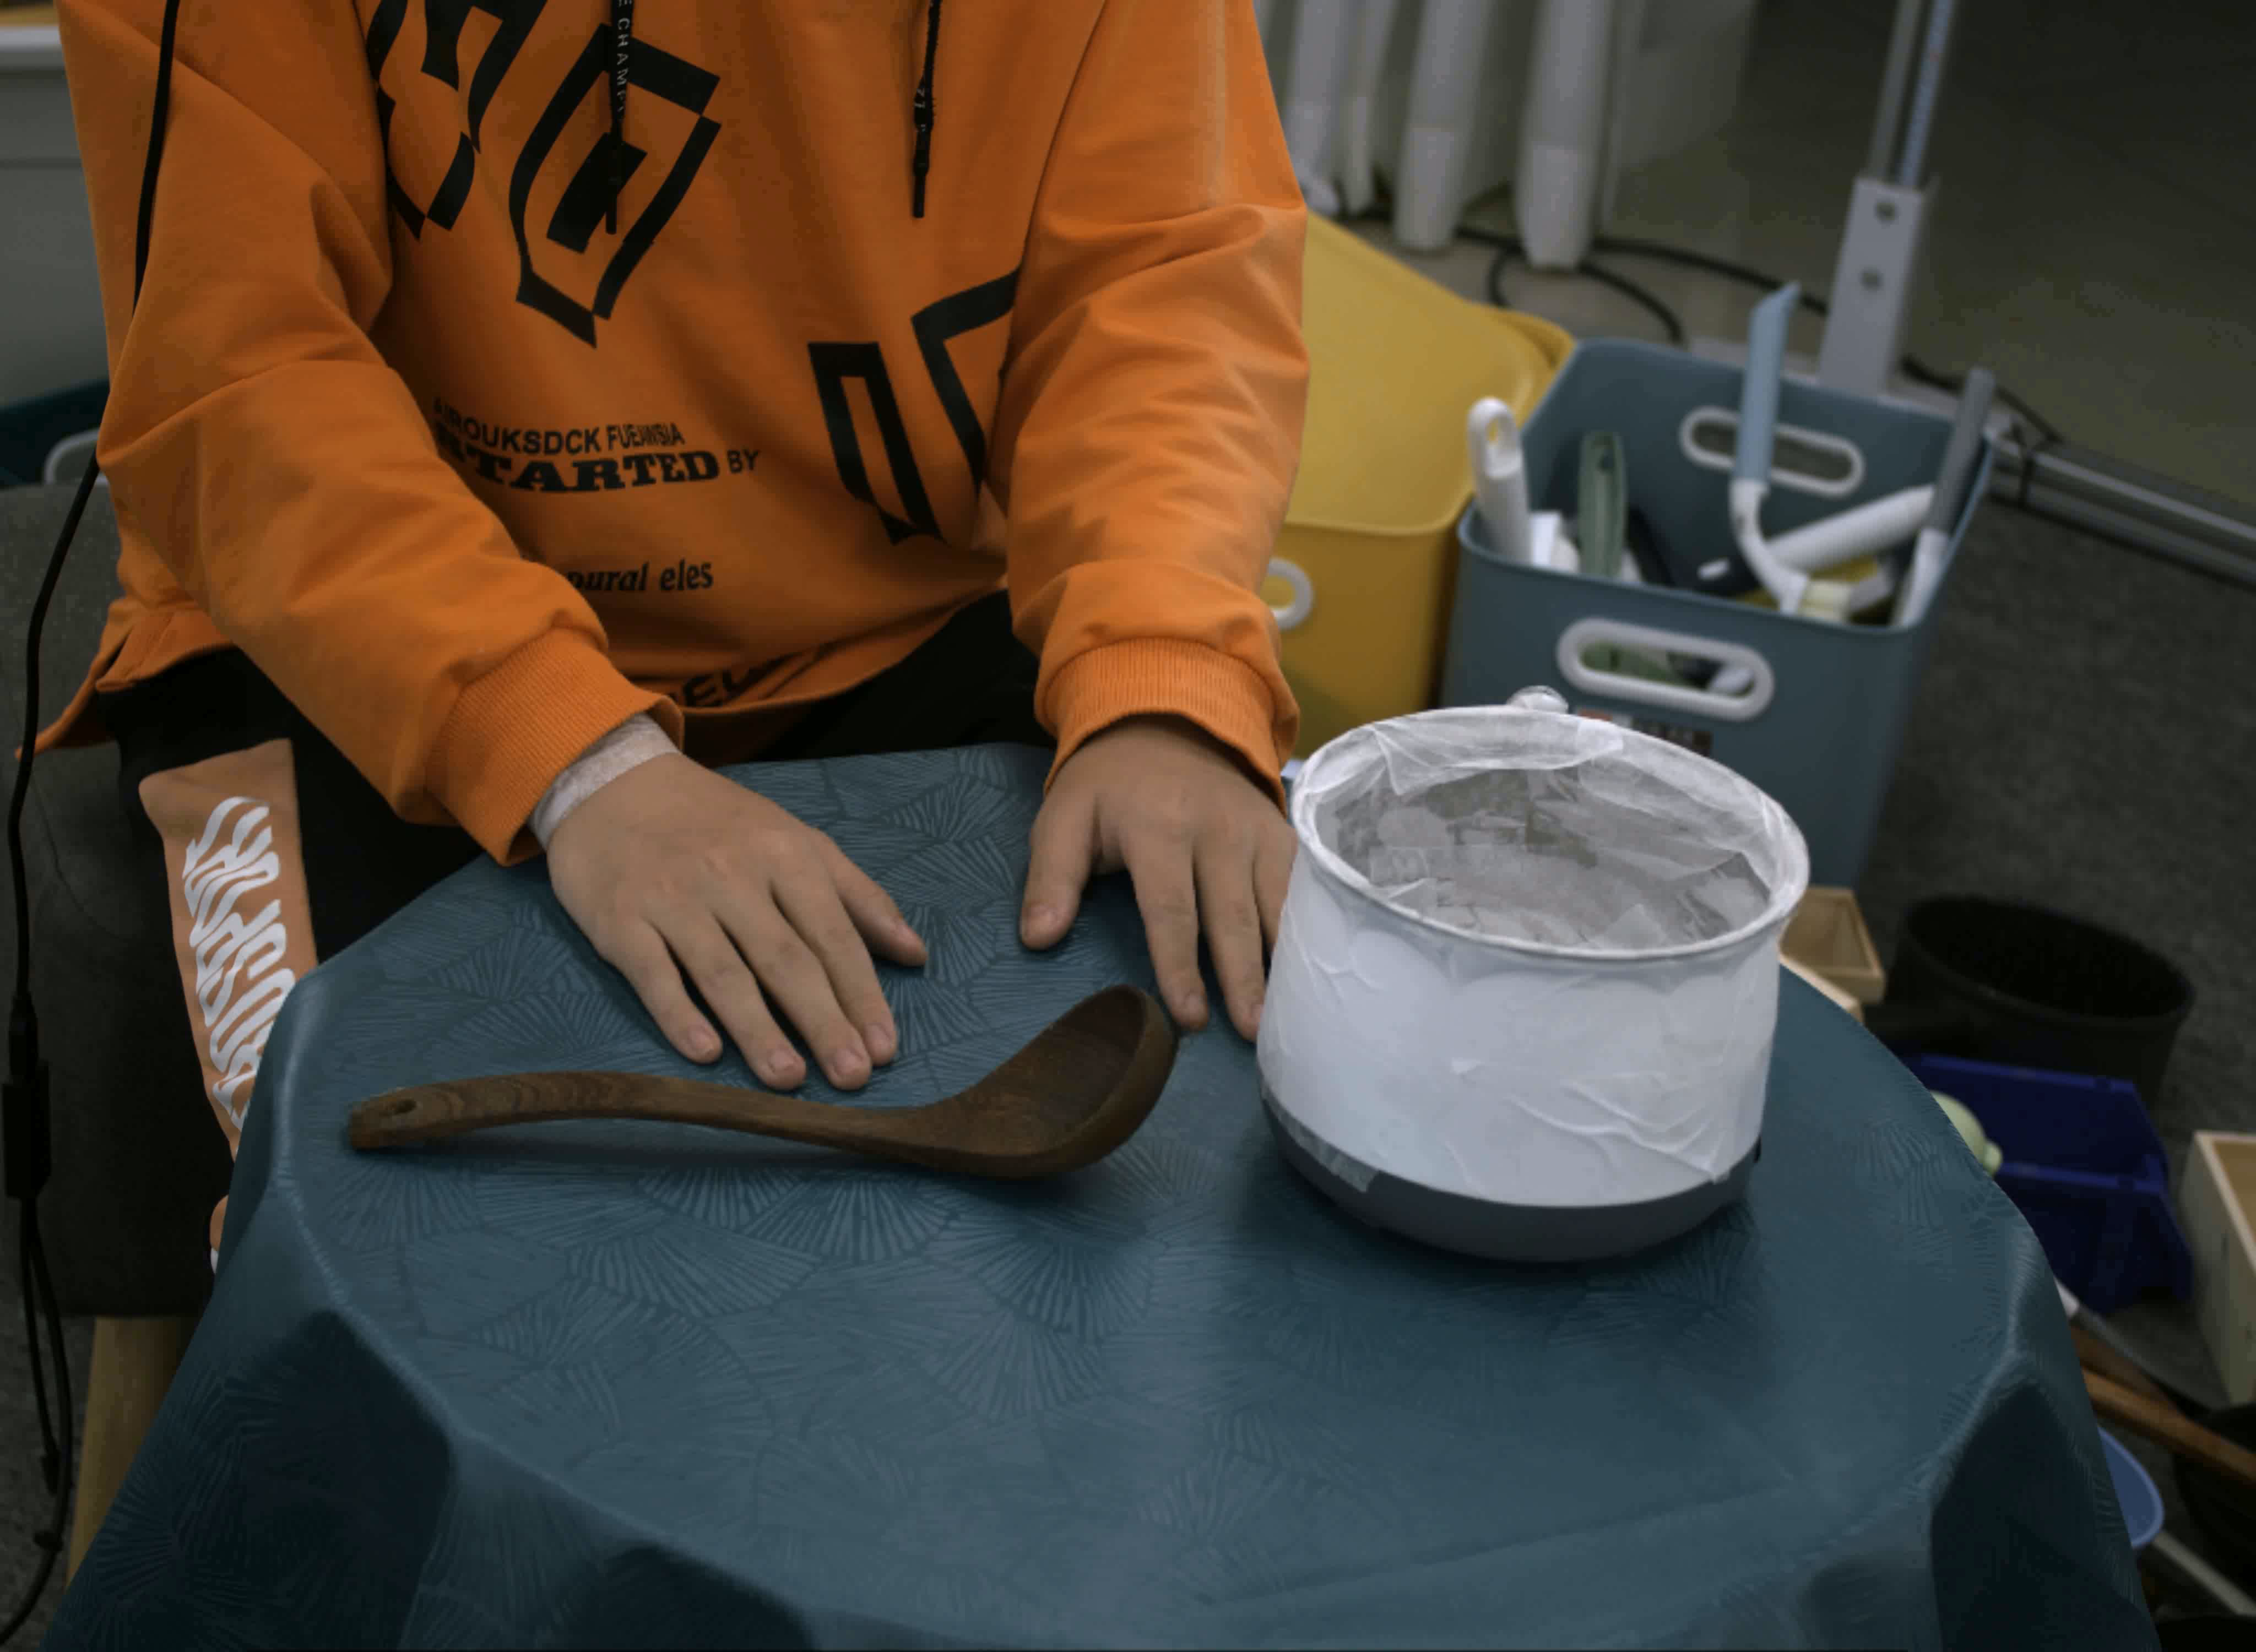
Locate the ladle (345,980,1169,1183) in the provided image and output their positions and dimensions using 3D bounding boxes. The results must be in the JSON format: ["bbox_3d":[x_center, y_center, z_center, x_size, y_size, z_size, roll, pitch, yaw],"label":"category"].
[{"bbox_3d":[-0.123,0.080,1.783,0.273,0.071,0.076,4,23,-7],"label":"ladle"}]

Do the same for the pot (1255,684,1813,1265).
[{"bbox_3d":[0.135,0.043,1.839,0.178,0.136,0.235,6,27,-2],"label":"pot"}]
